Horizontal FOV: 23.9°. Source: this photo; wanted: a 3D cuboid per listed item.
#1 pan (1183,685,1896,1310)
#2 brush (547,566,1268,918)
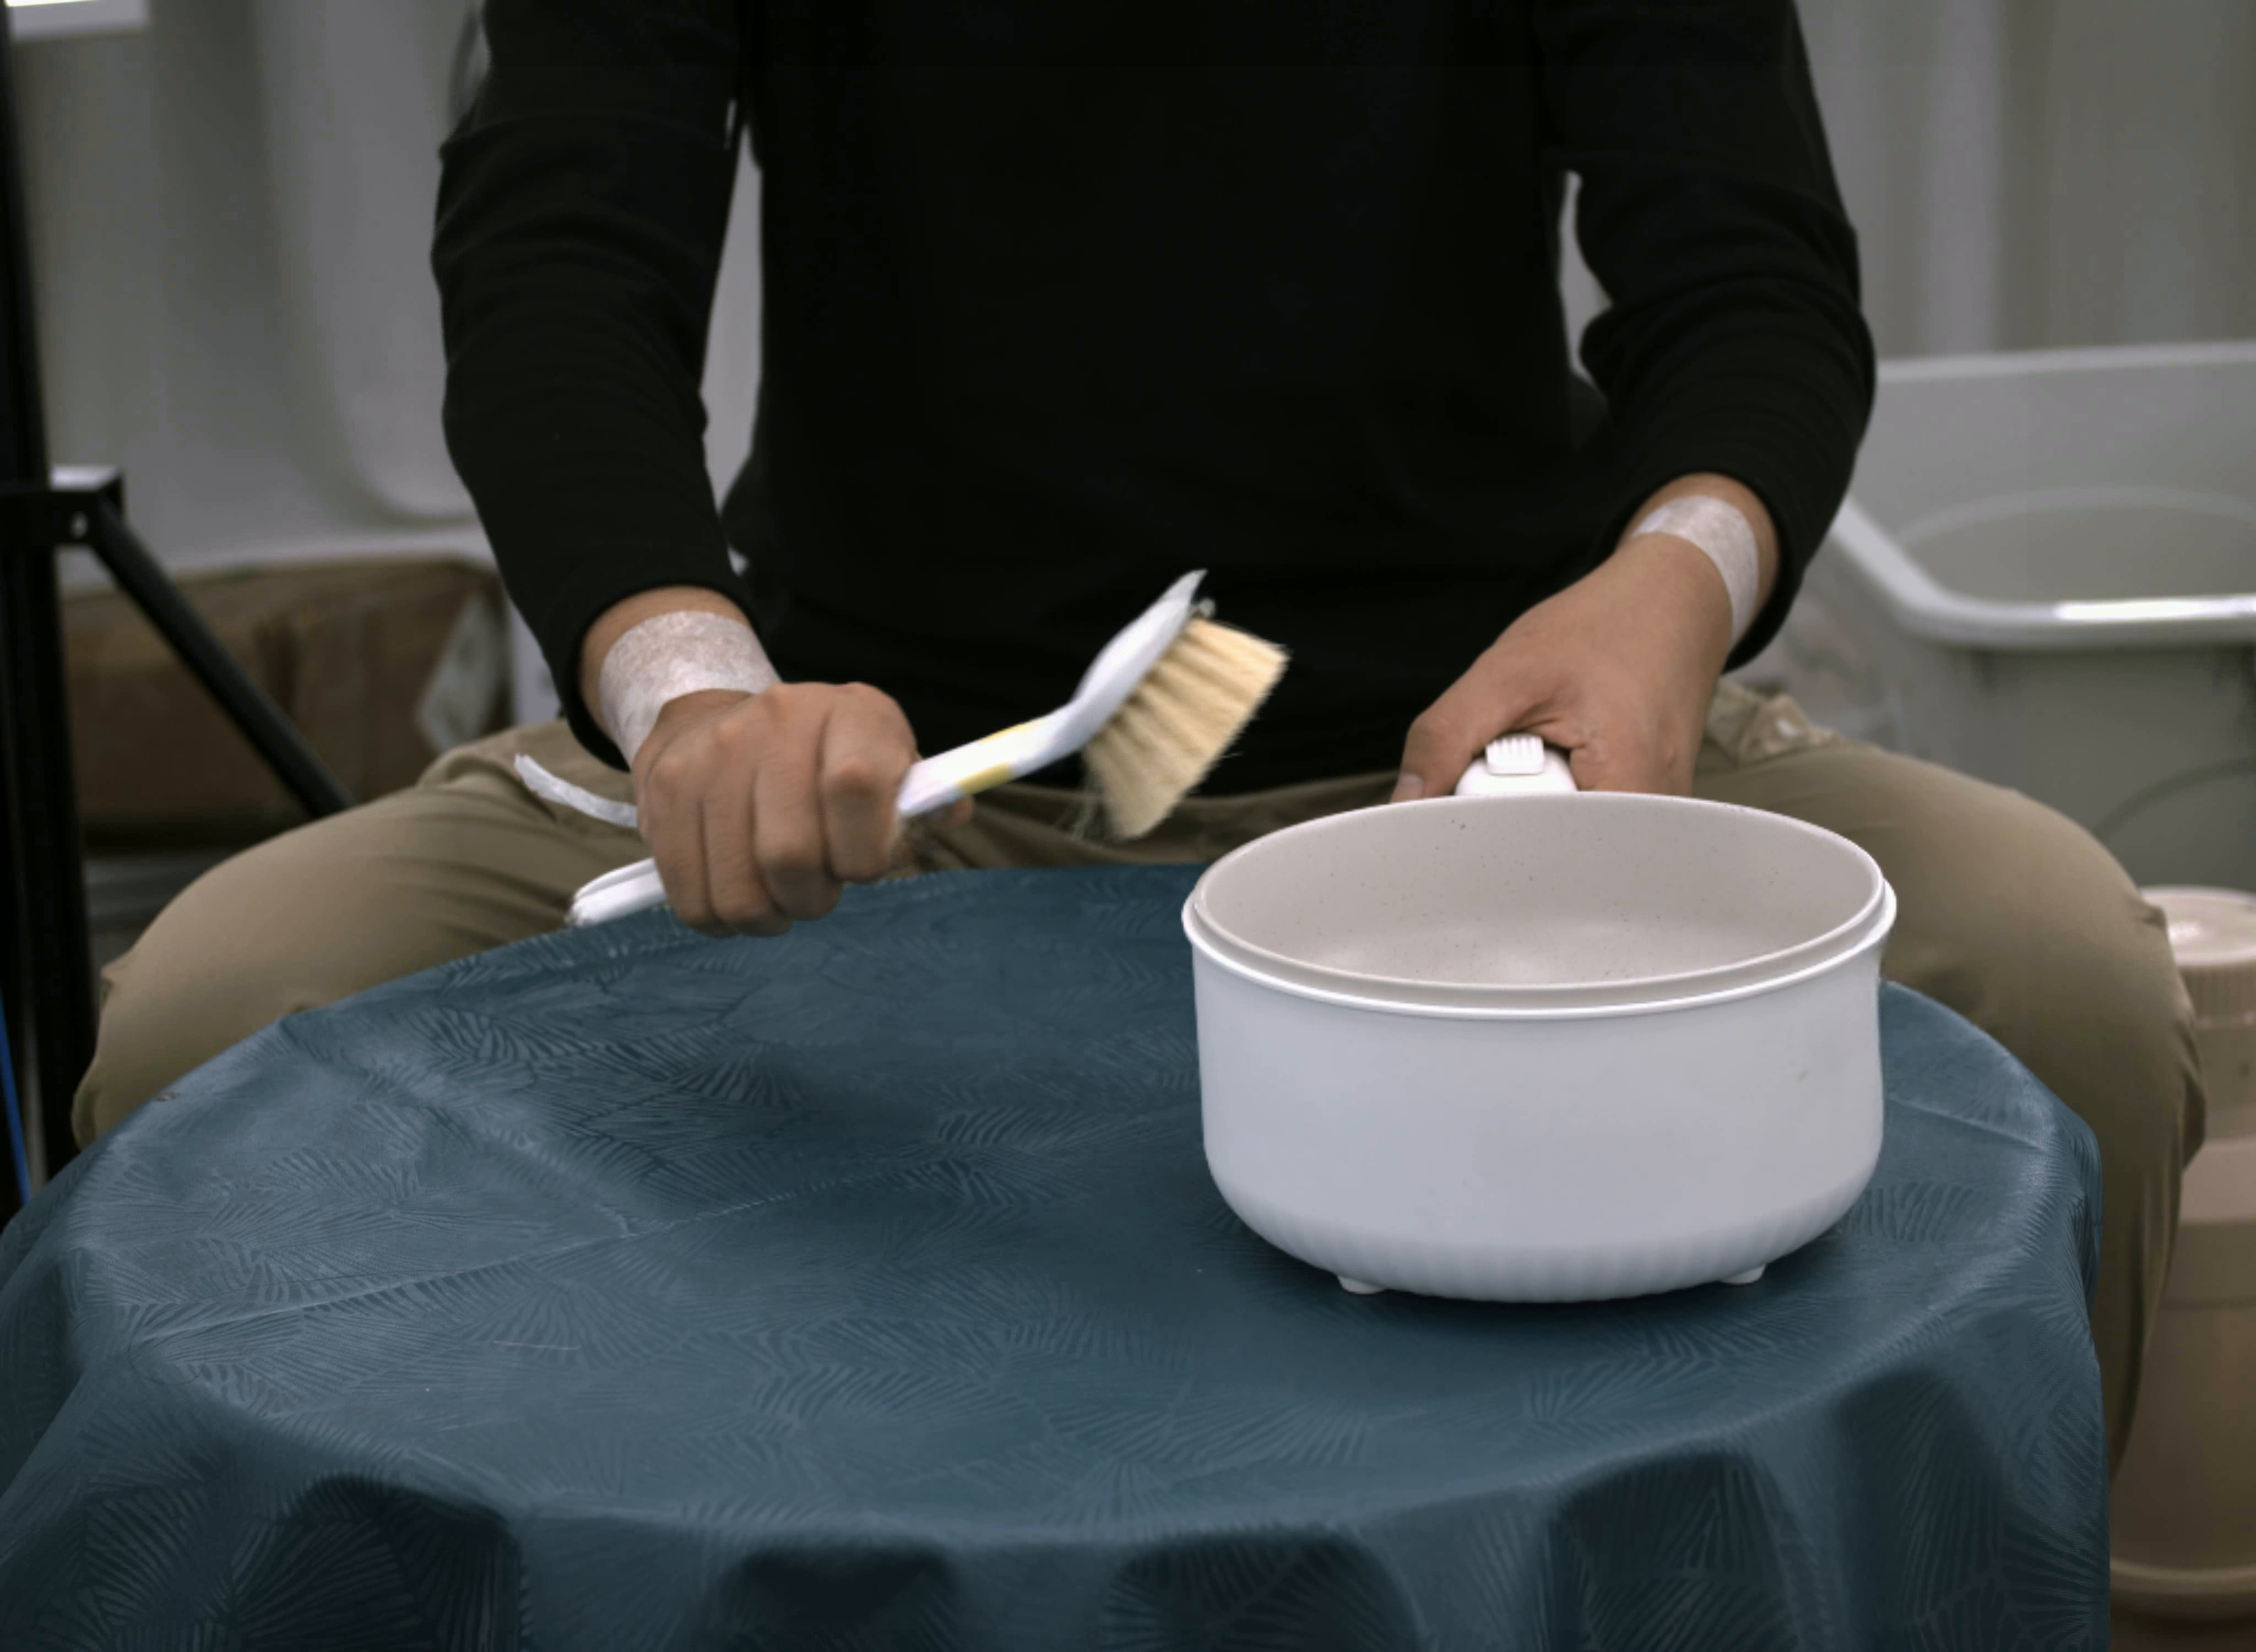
[{"bbox_3d":[0.120,0.046,1.579,0.201,0.102,0.355,-3,15,3],"label":"pan"},{"bbox_3d":[-0.067,-0.003,1.589,0.270,0.056,0.068,-25,11,36],"label":"brush"}]
